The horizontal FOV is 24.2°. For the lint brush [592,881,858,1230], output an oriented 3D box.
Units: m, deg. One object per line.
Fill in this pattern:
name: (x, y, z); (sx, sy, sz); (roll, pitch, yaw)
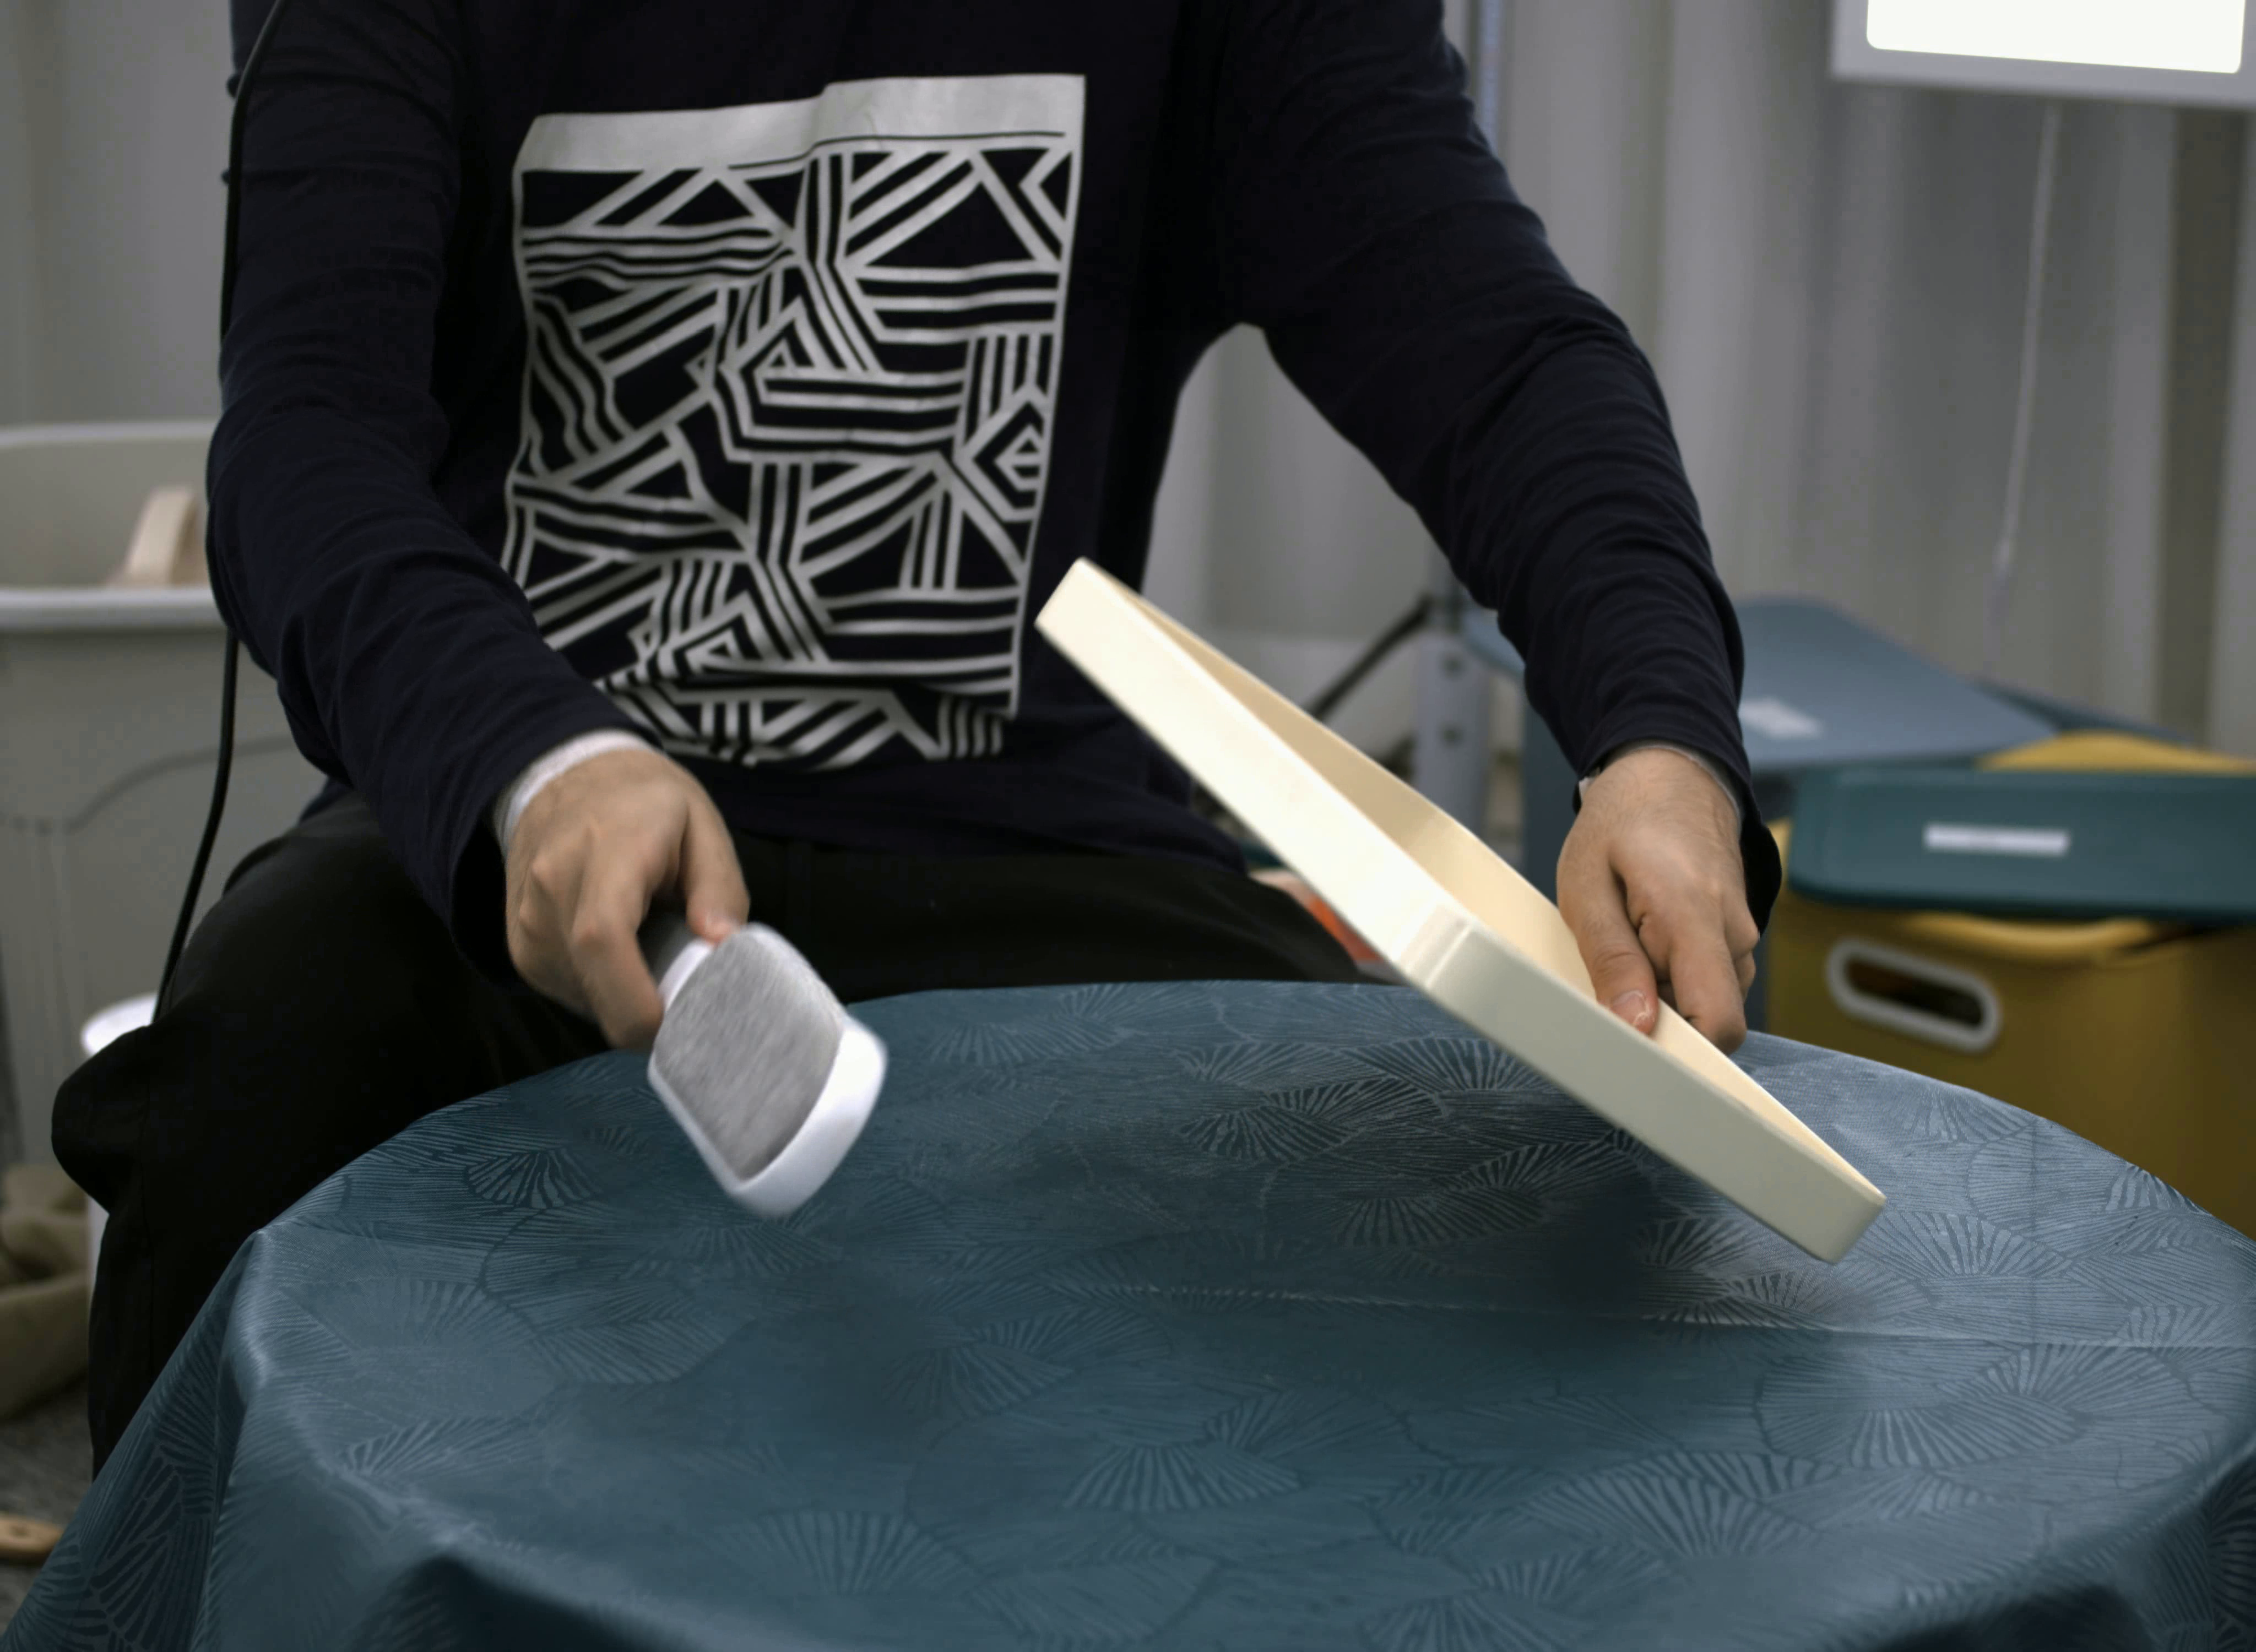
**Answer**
lint brush: (-0.123, 0.056, 1.532); (0.021, 0.060, 0.306); (32, 2, -18)

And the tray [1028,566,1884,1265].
tray: (0.093, 0.023, 1.592); (0.194, 0.027, 0.296); (34, 5, -32)
